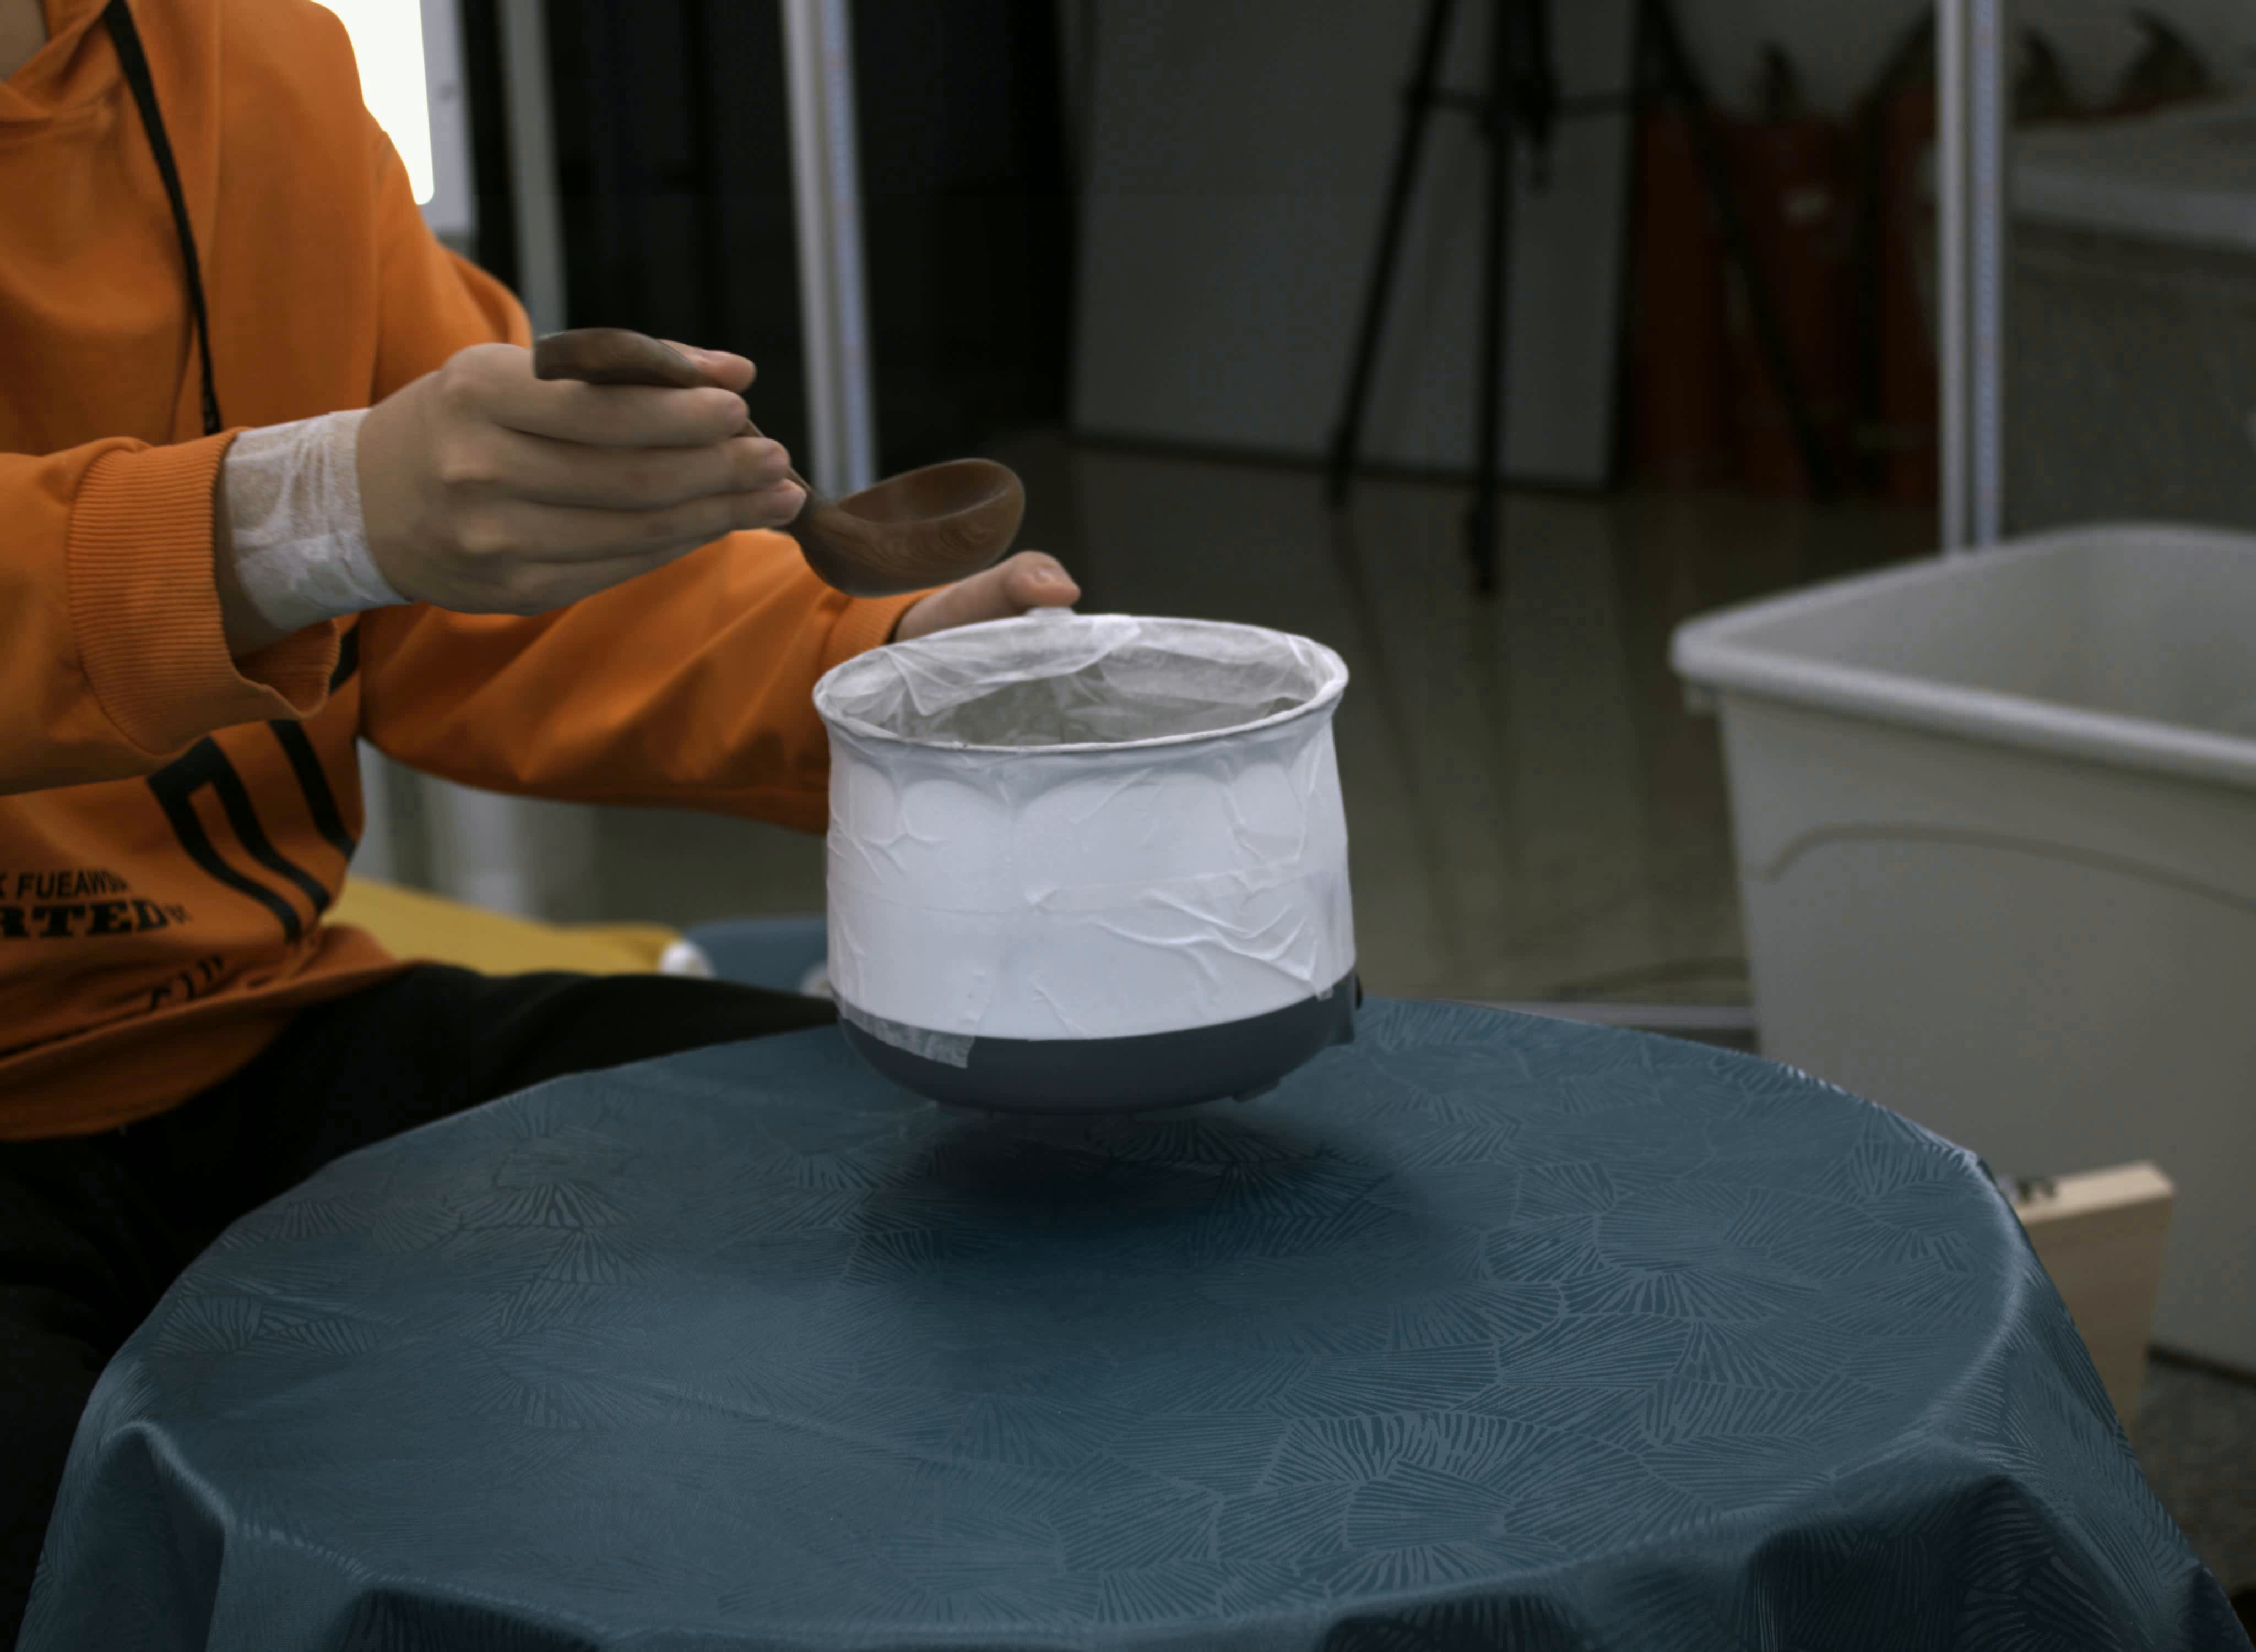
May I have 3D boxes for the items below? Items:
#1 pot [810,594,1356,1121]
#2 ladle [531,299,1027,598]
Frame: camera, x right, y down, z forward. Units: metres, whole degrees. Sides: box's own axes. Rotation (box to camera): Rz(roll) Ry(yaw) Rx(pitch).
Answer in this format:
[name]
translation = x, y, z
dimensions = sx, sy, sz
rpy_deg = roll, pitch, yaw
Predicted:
[pot]
translation = -0.018, 0.006, 1.801
dimensions = 0.176, 0.138, 0.235
rpy_deg = -4, 15, -7
[ladle]
translation = -0.110, -0.127, 1.656
dimensions = 0.076, 0.066, 0.256
rpy_deg = -16, -25, 22
